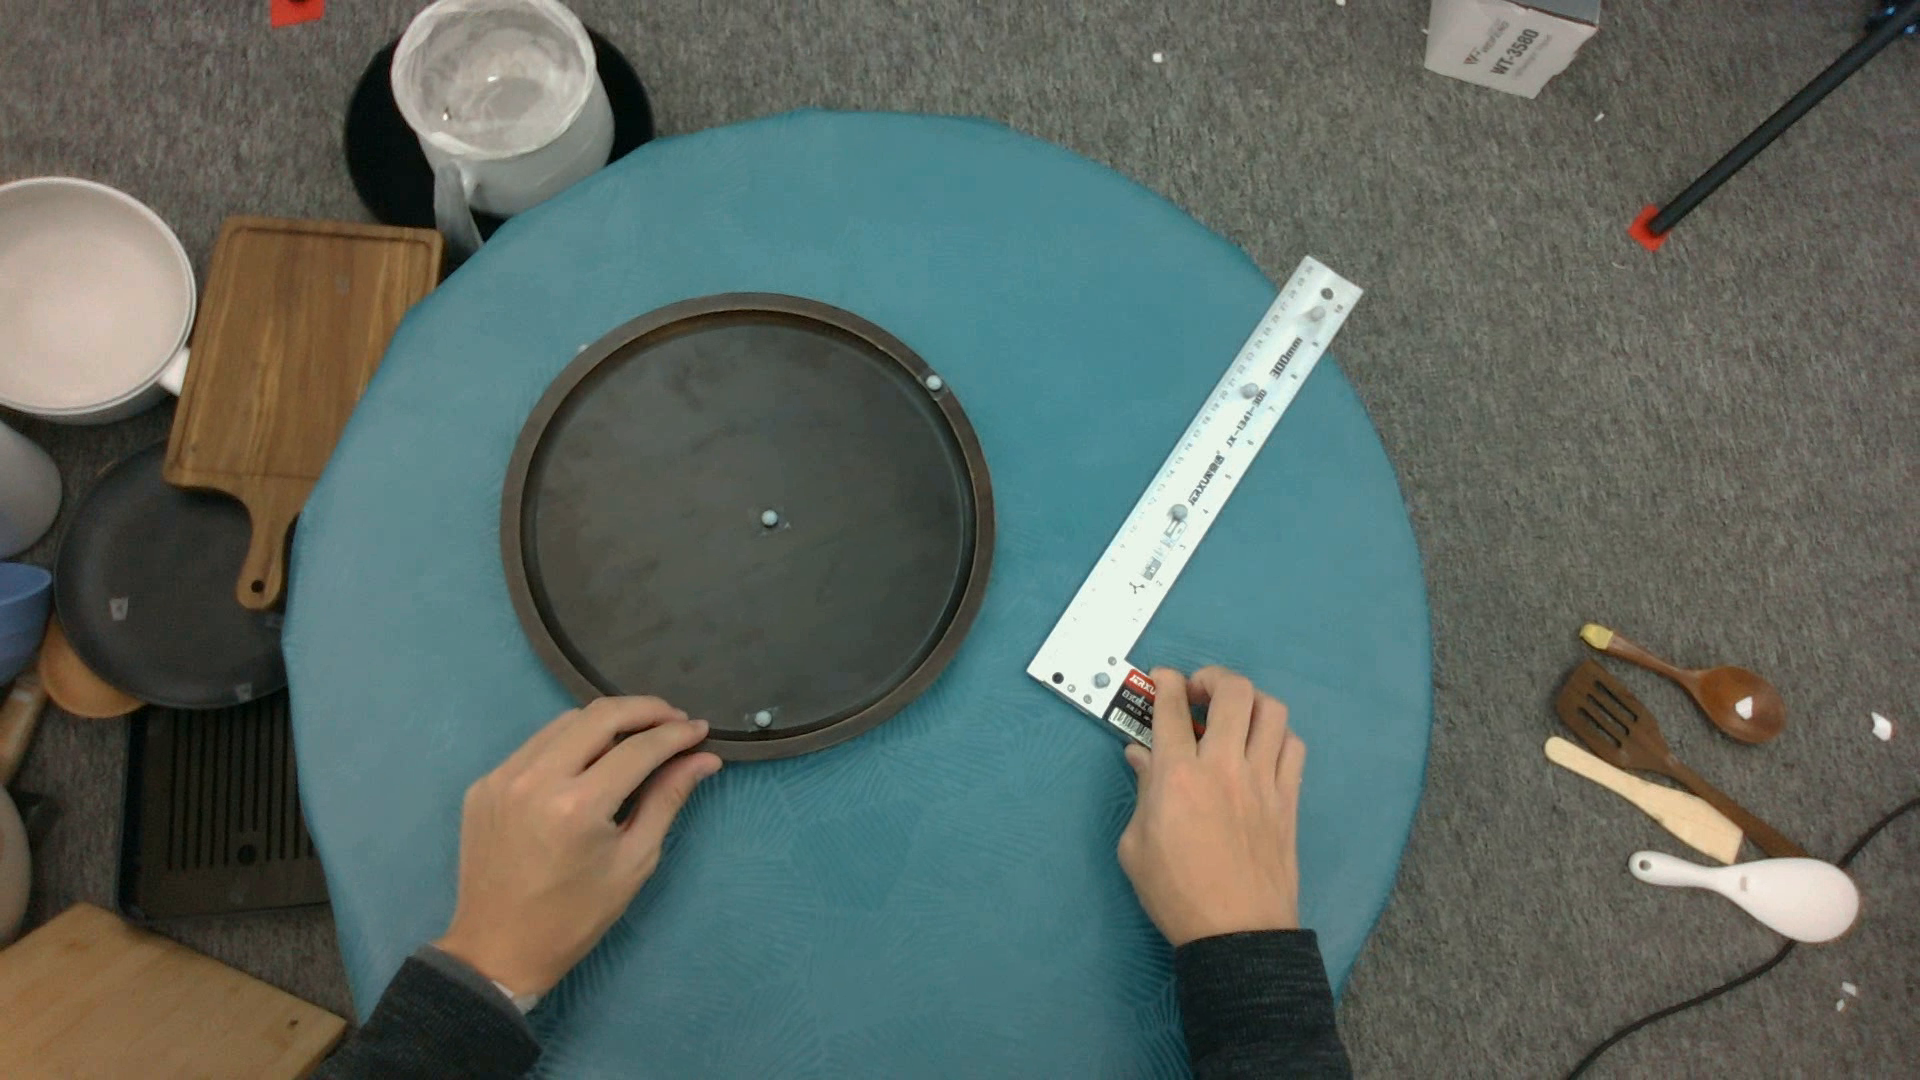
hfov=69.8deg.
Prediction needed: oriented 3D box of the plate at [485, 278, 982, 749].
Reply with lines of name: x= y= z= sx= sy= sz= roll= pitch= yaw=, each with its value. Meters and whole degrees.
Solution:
plate: x=-0.114 y=-0.017 z=0.717 sx=0.255 sy=0.029 sz=0.255 roll=3 pitch=73 yaw=-9

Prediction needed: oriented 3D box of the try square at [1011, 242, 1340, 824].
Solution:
try square: x=0.171 y=-0.015 z=0.767 sx=0.152 sy=0.016 sz=0.314 roll=34 pitch=71 yaw=3
